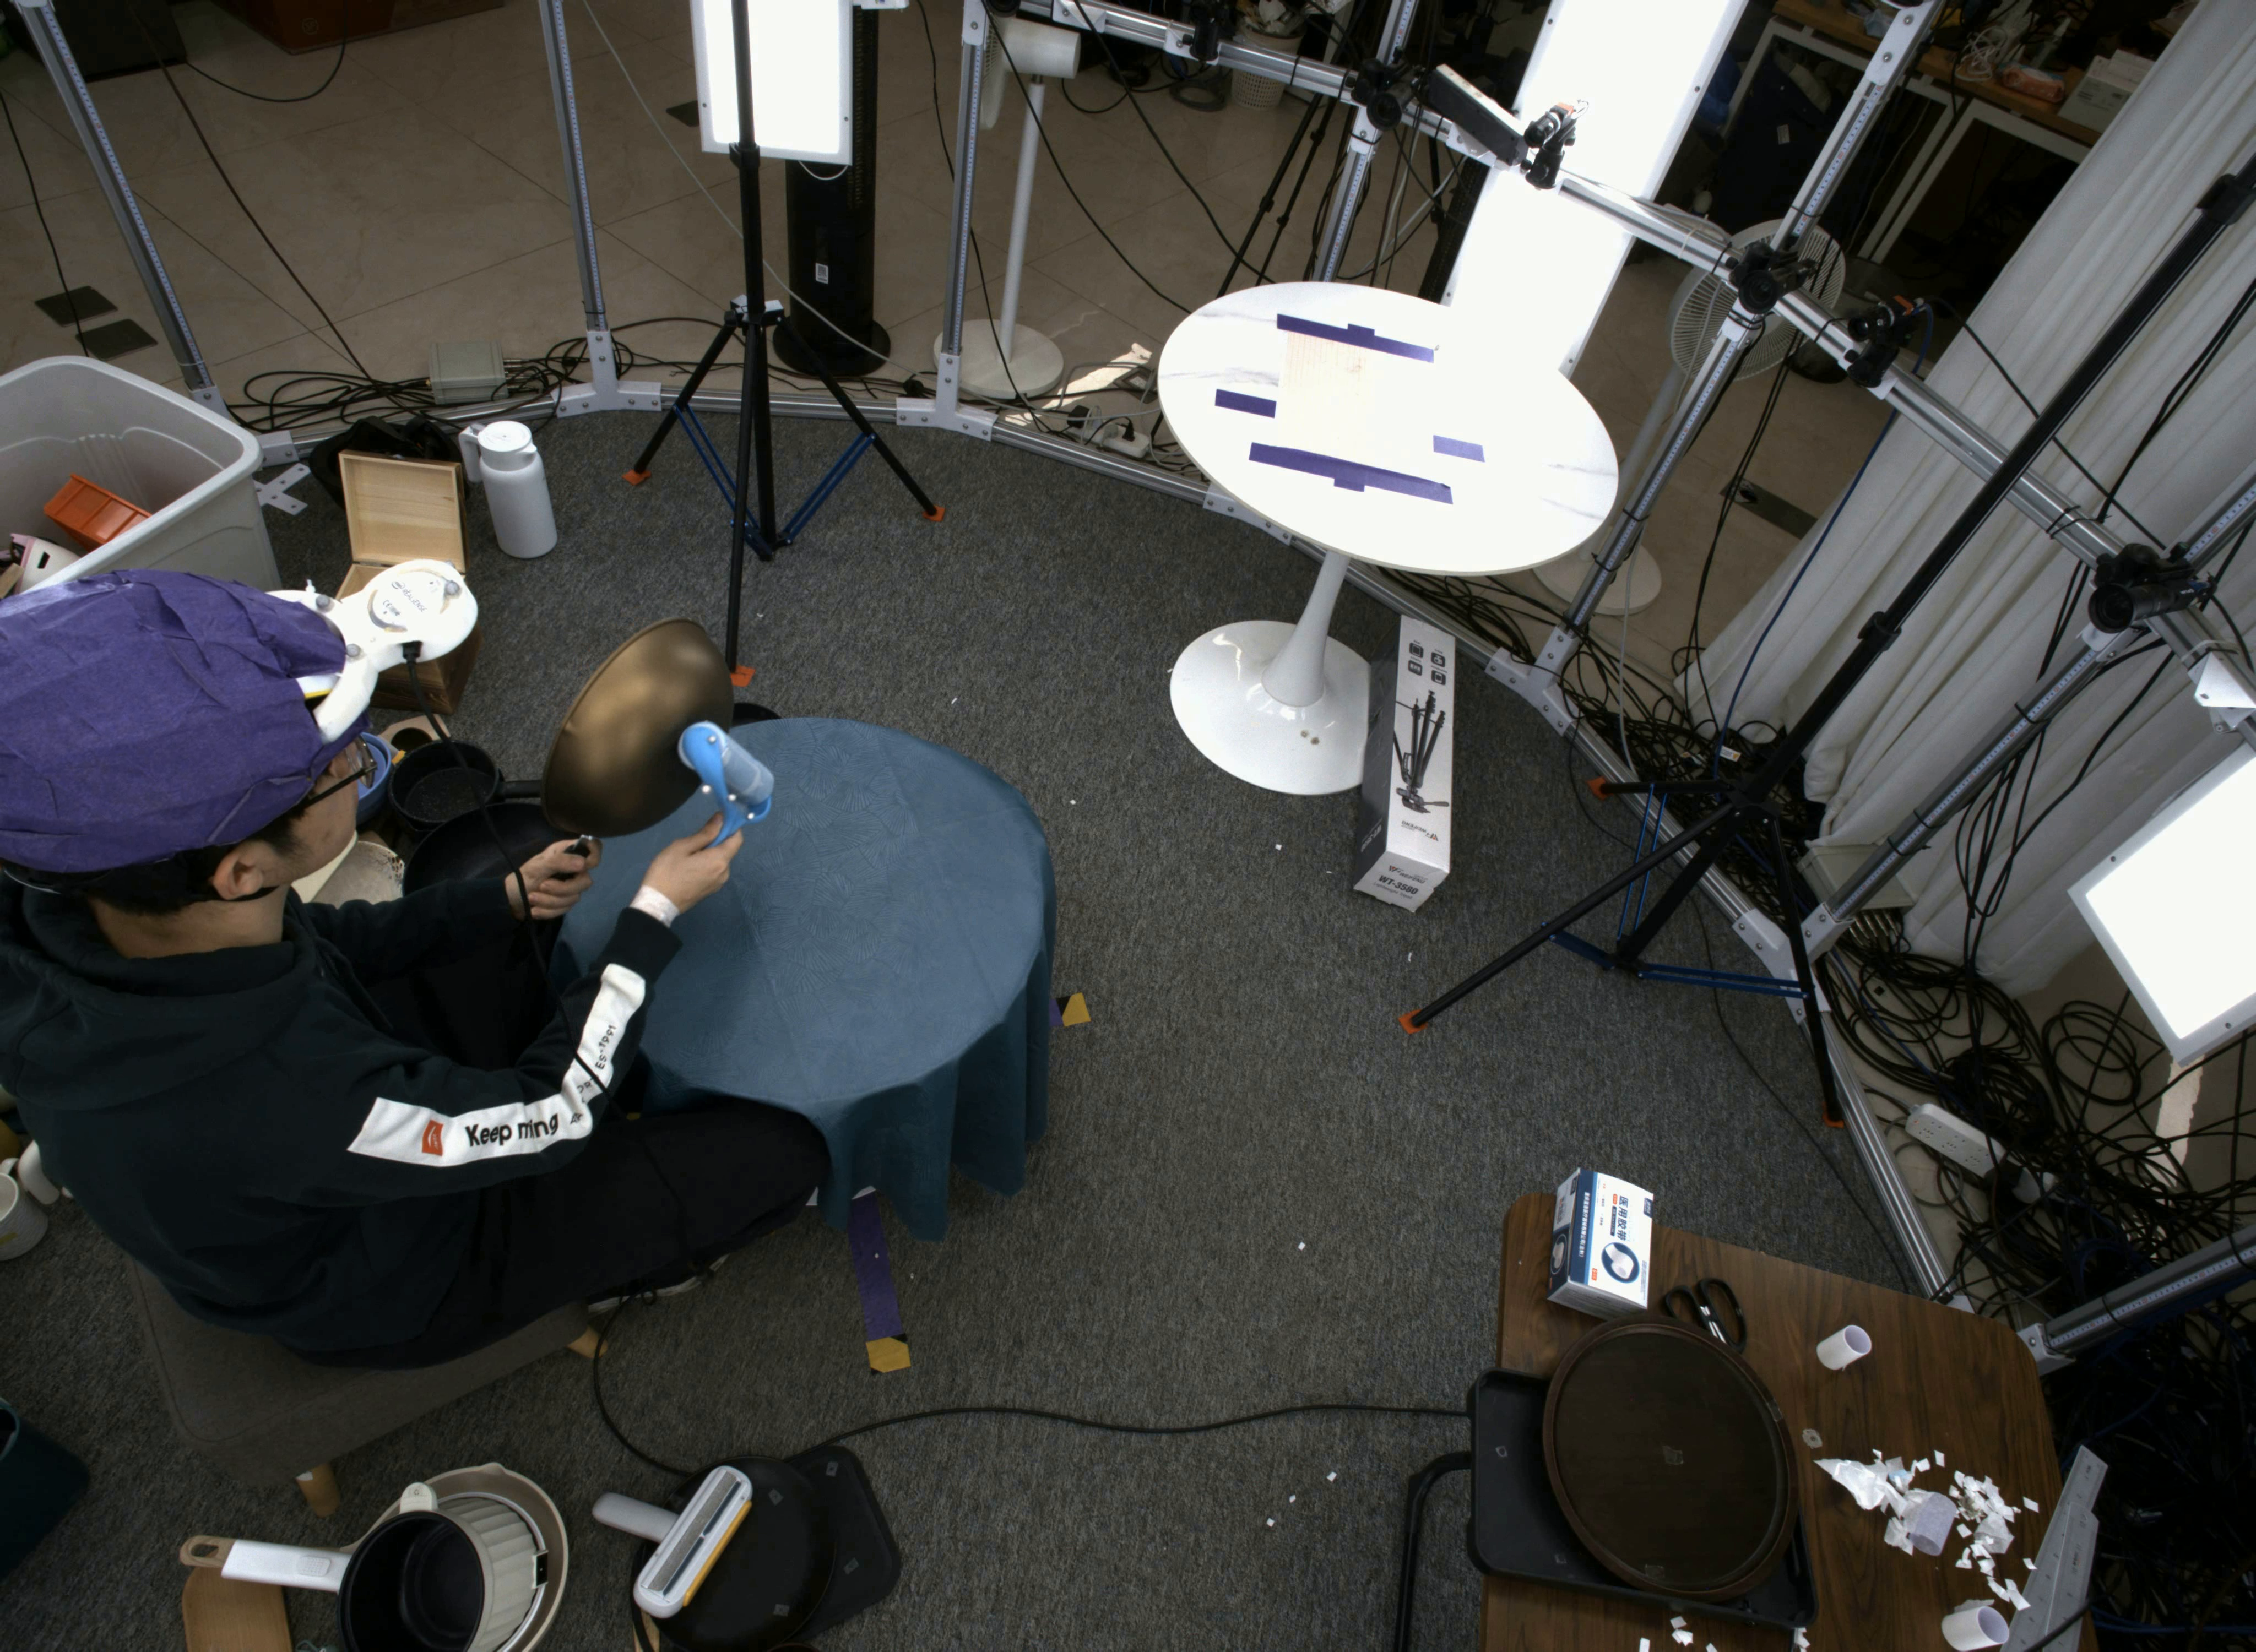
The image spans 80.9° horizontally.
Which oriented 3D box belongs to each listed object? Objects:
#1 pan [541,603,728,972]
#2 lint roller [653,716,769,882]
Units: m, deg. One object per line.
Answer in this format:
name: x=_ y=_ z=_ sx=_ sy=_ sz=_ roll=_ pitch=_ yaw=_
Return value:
pan: x=-0.570 y=-0.021 z=1.439 sx=0.086 sy=0.468 sz=0.288 roll=28 pitch=10 yaw=6
lint roller: x=-0.477 y=-0.017 z=1.459 sx=0.067 sy=0.230 sz=0.181 roll=17 pitch=84 yaw=2
